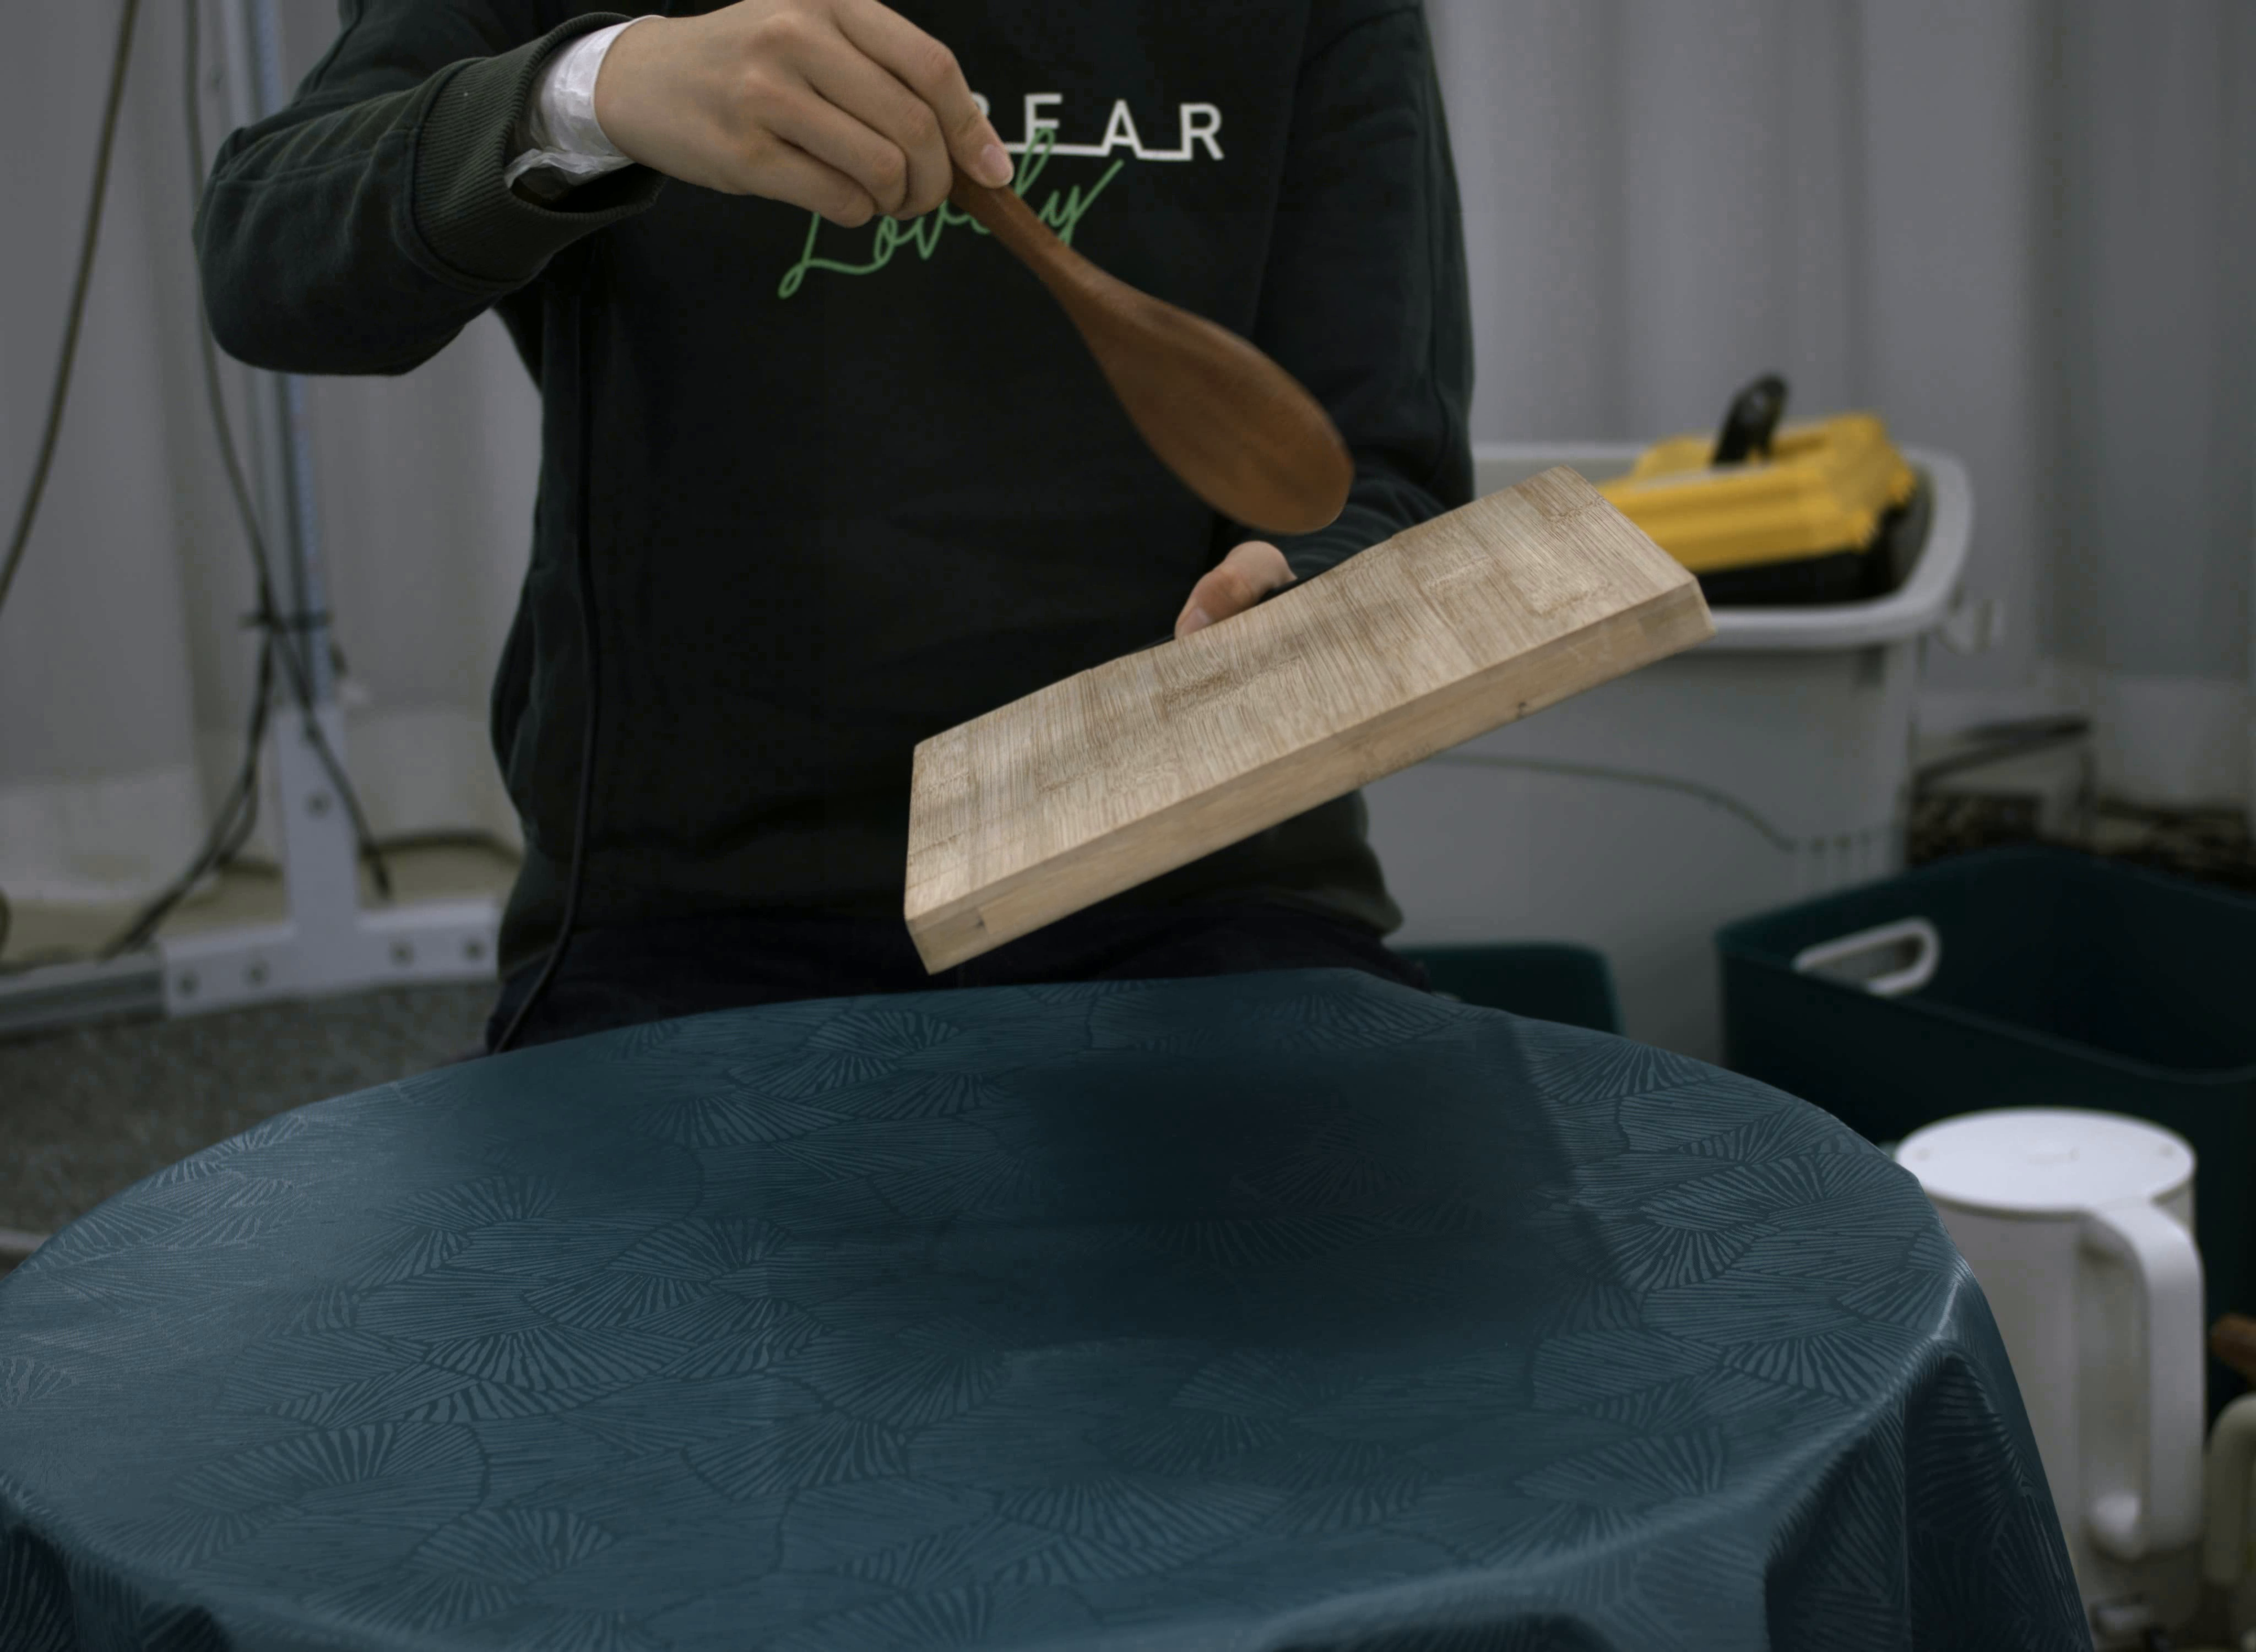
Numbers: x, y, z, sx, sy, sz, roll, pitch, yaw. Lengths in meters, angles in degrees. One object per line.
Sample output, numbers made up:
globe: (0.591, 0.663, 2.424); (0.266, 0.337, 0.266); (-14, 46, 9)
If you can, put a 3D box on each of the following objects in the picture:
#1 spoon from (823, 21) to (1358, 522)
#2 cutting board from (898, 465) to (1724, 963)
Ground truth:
spoon: (-0.013, -0.169, 1.700); (0.017, 0.215, 0.075); (-48, 5, -26)
cutting board: (0.047, -0.041, 1.687); (0.250, 0.023, 0.350); (-23, 9, 1)
